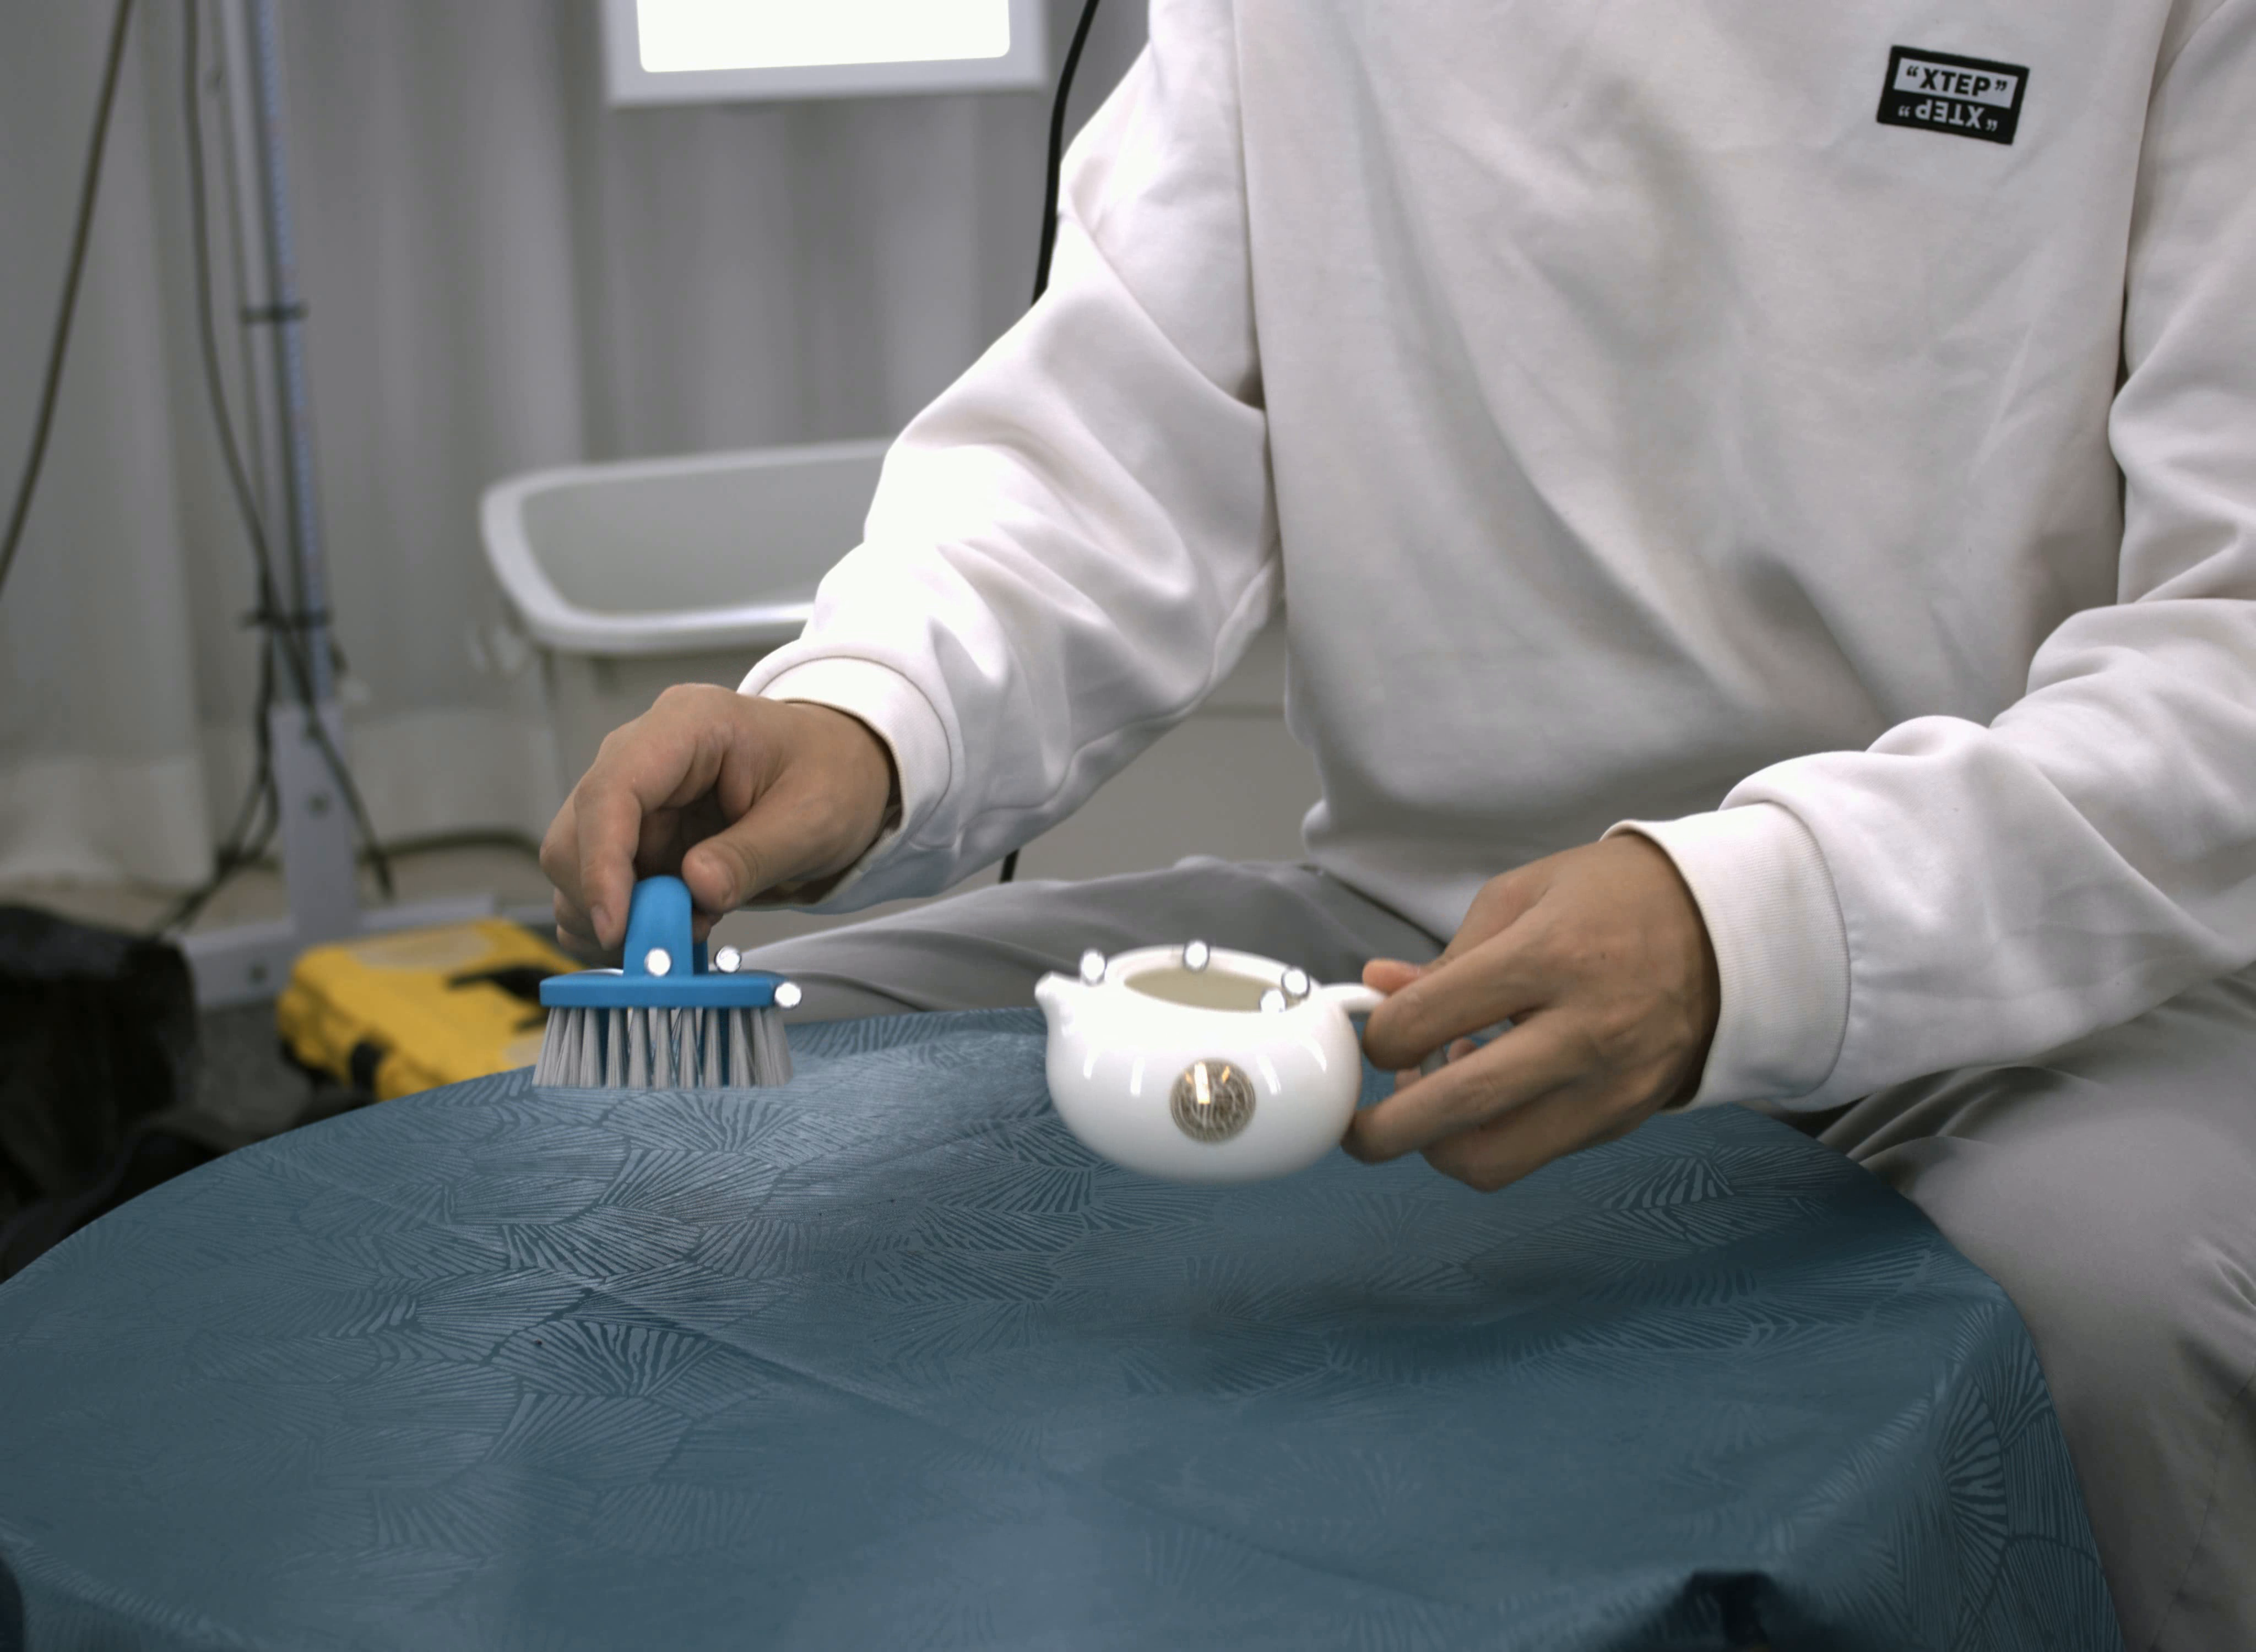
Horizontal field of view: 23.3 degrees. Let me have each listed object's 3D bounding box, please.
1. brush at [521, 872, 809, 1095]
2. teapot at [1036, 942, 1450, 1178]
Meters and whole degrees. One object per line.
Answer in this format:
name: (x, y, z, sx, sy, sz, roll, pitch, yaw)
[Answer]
brush: (-0.142, 0.047, 1.675, 0.084, 0.064, 0.141, -6, -4, -2)
teapot: (0.033, 0.069, 1.602, 0.126, 0.056, 0.094, 3, 12, -15)
